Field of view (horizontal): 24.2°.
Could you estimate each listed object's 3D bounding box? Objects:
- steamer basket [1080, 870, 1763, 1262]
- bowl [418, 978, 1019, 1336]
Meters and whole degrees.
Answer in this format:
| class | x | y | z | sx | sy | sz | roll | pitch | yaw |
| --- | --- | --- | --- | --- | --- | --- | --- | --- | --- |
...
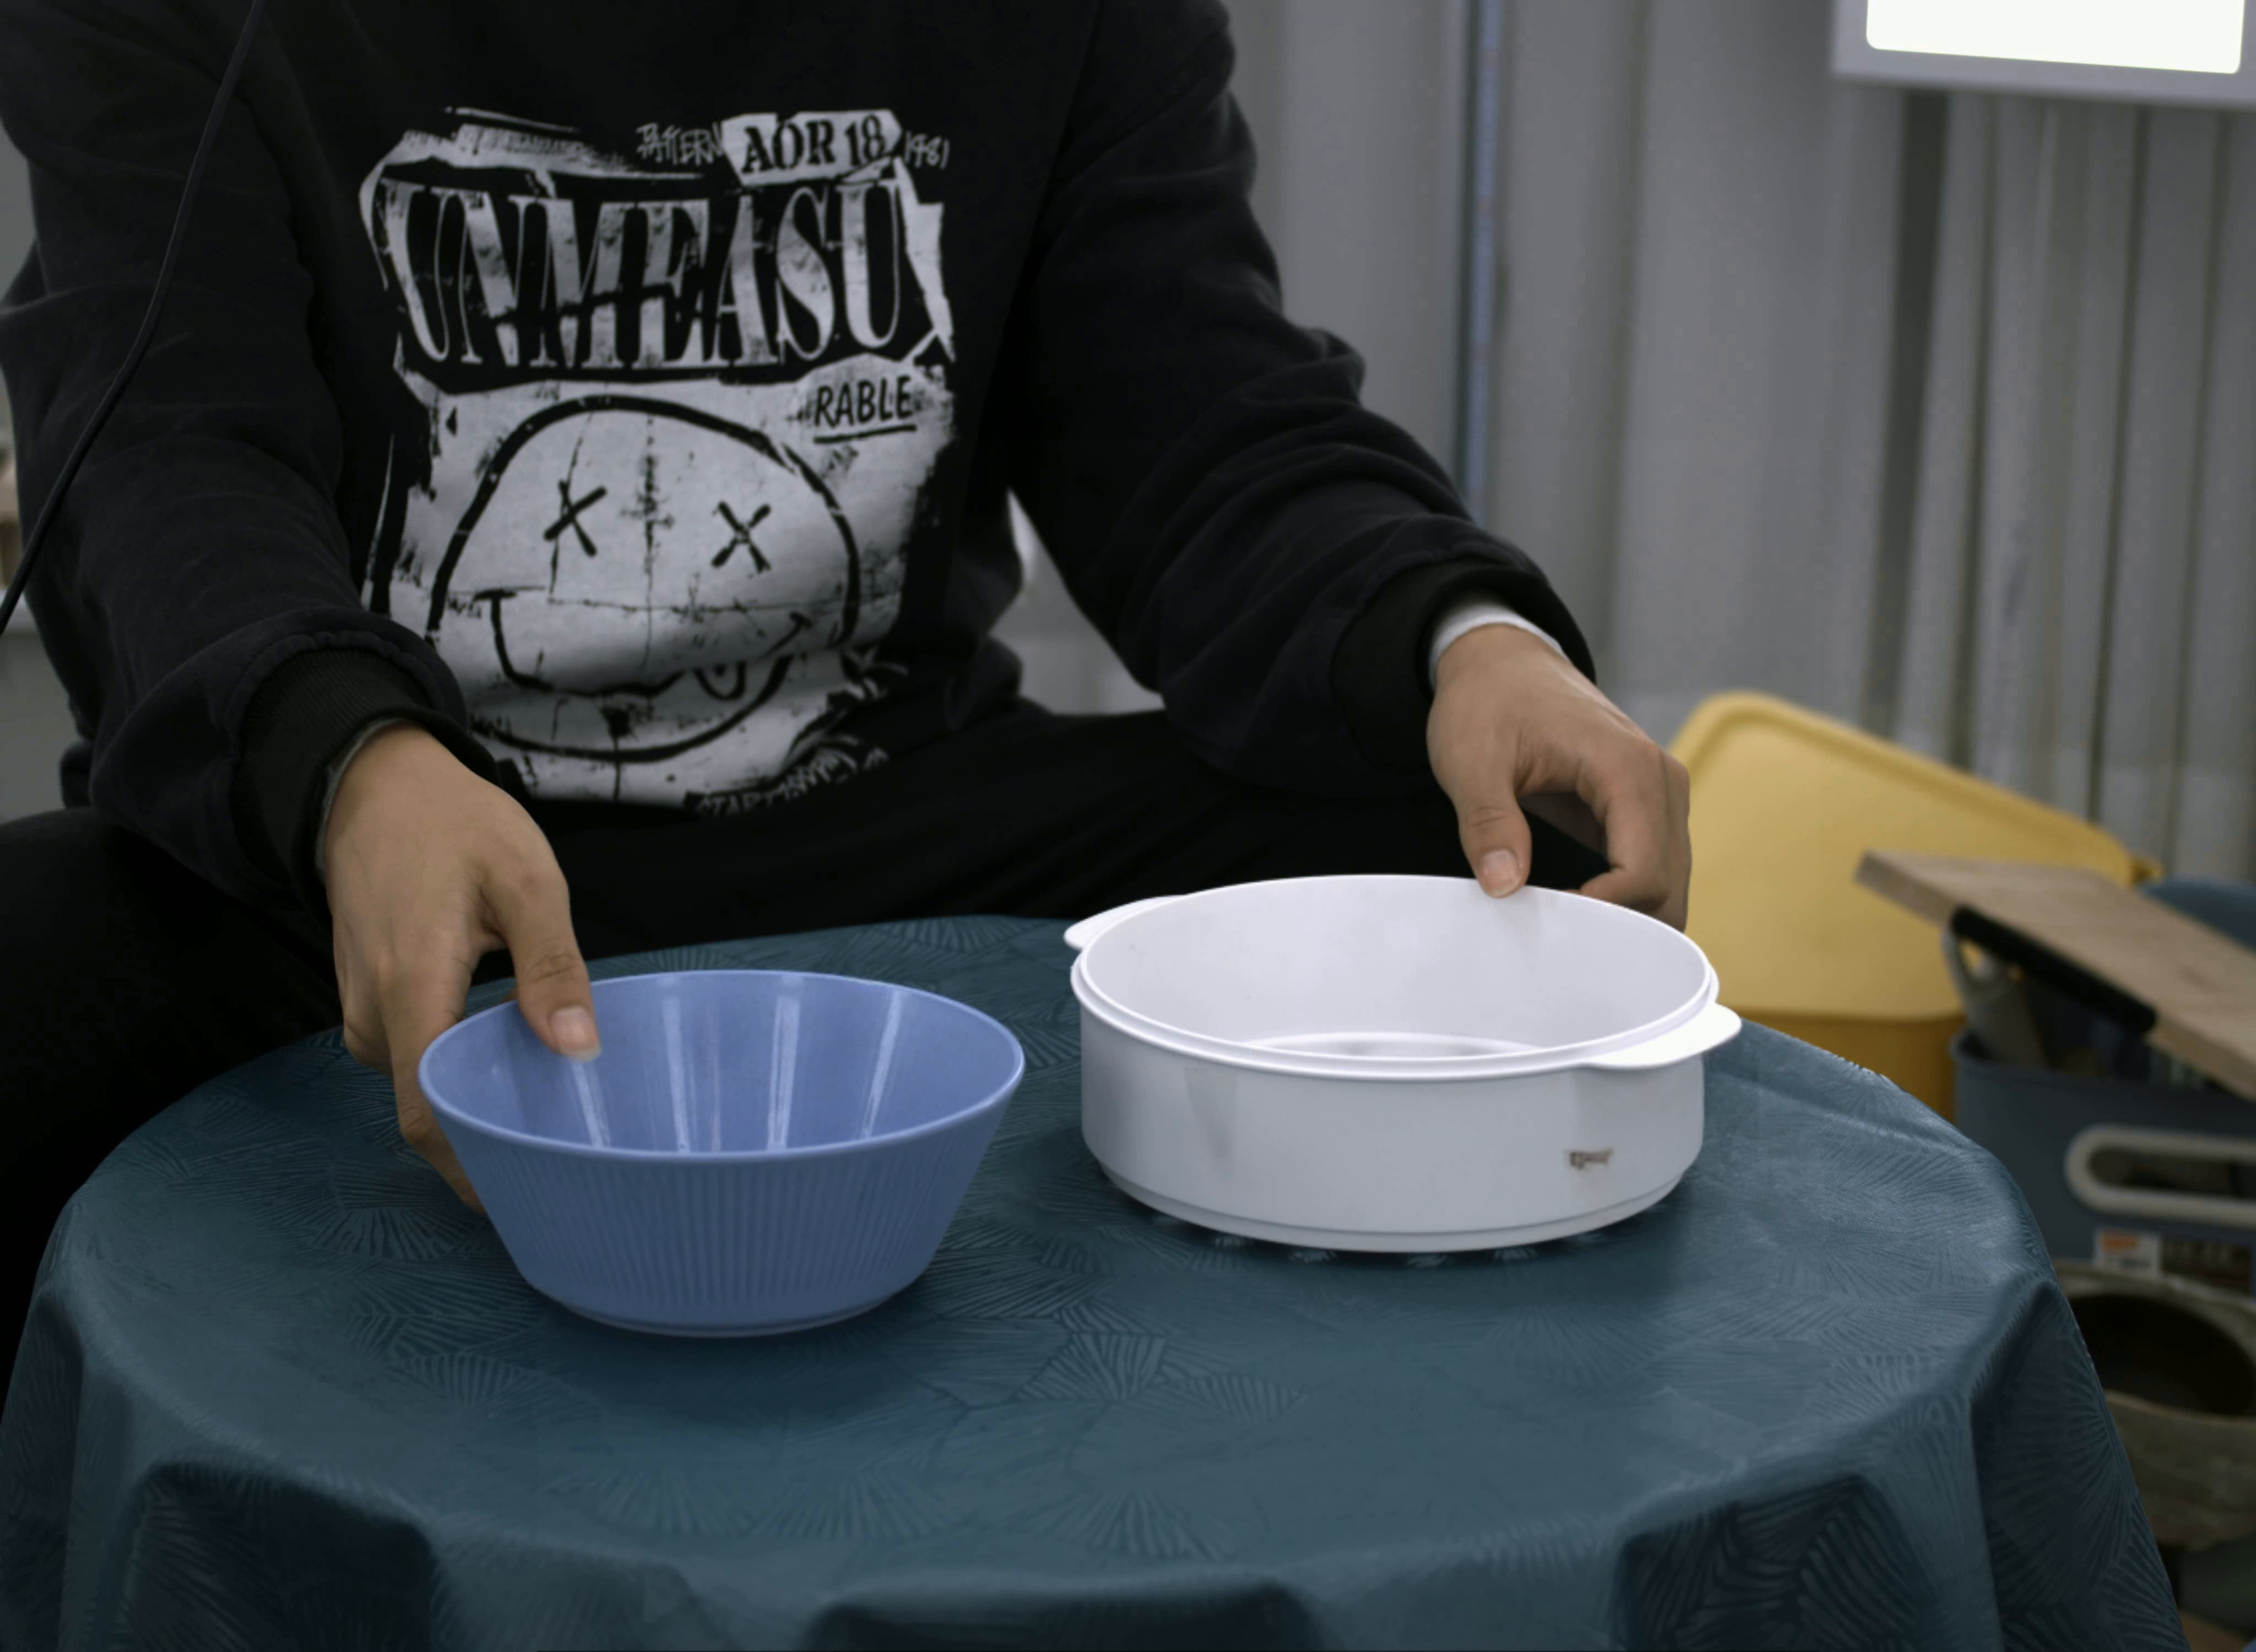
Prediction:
| class | x | y | z | sx | sy | sz | roll | pitch | yaw |
| --- | --- | --- | --- | --- | --- | --- | --- | --- | --- |
| steamer basket | 0.087 | 0.074 | 1.639 | 0.227 | 0.070 | 0.203 | 15 | 21 | 34 |
| bowl | -0.119 | 0.099 | 1.540 | 0.175 | 0.071 | 0.175 | 2 | 15 | 0 |
